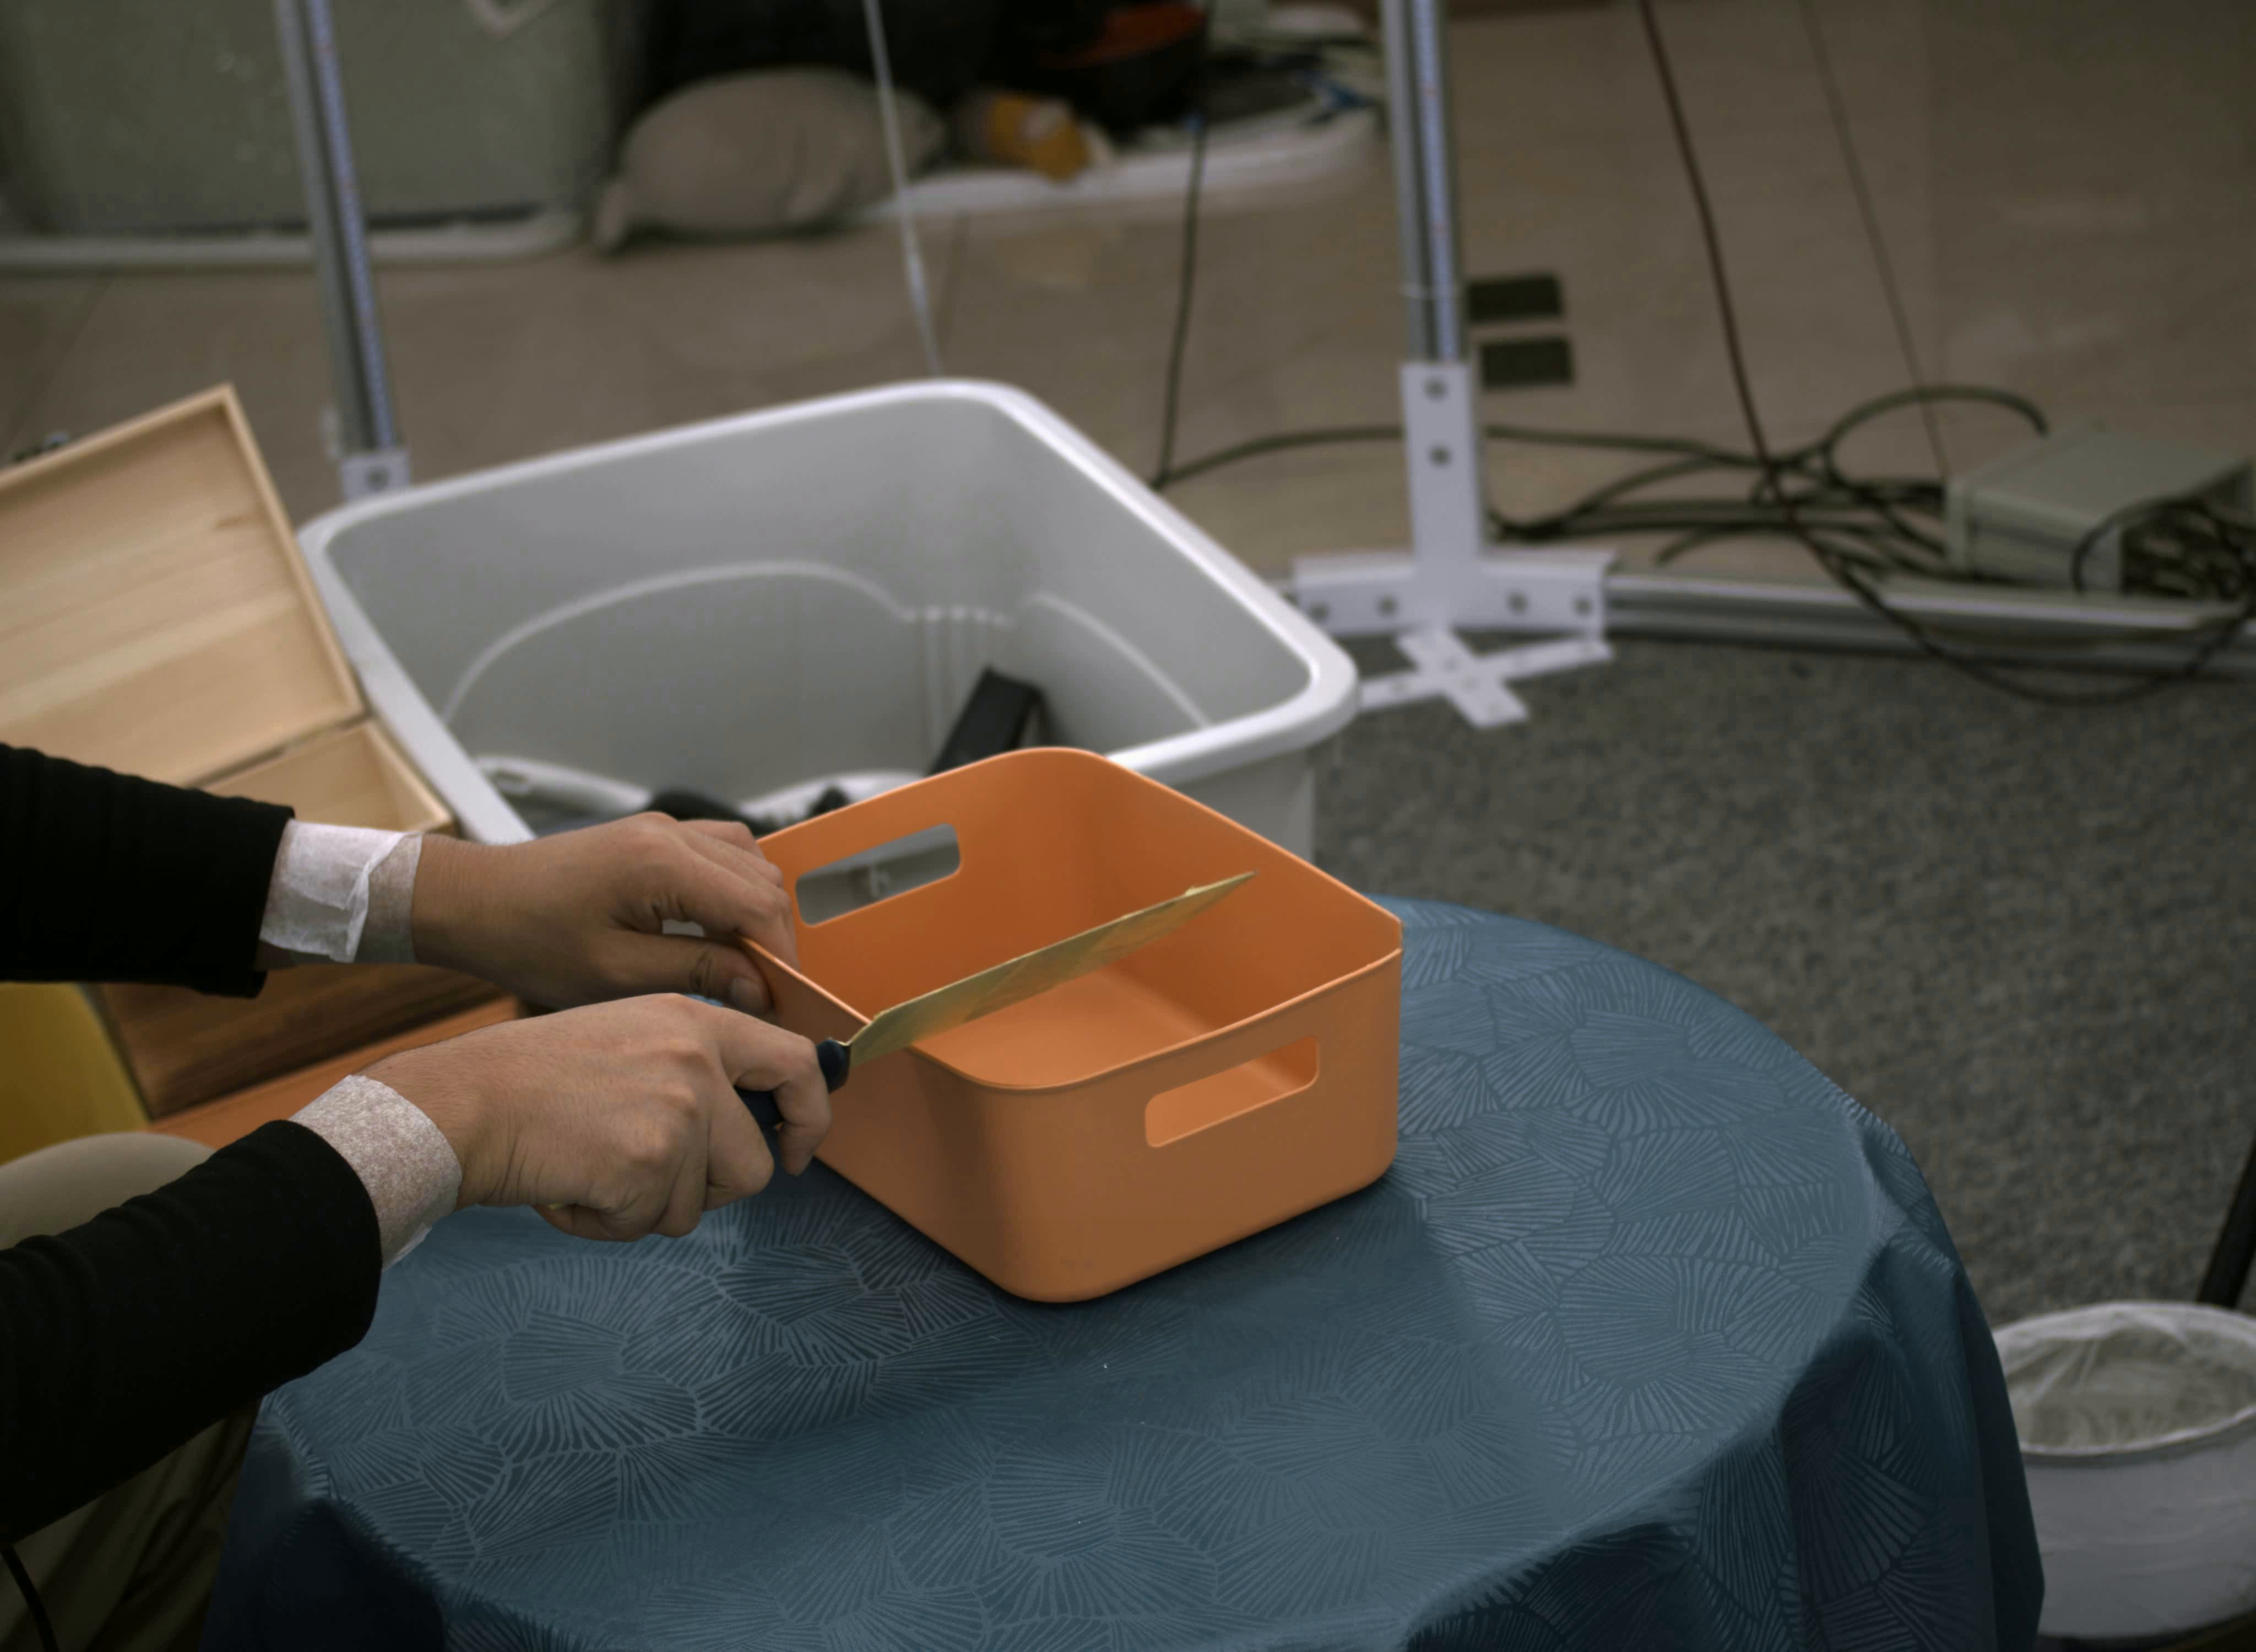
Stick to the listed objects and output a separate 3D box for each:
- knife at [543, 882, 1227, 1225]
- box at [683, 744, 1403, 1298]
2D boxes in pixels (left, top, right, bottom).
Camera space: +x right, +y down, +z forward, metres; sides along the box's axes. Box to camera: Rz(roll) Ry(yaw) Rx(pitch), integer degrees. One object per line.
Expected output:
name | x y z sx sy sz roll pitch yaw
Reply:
knife | -0.080 0.075 2.018 0.287 0.027 0.082 -24 -13 -28
box | -0.032 0.074 2.169 0.198 0.104 0.270 -19 28 -27
